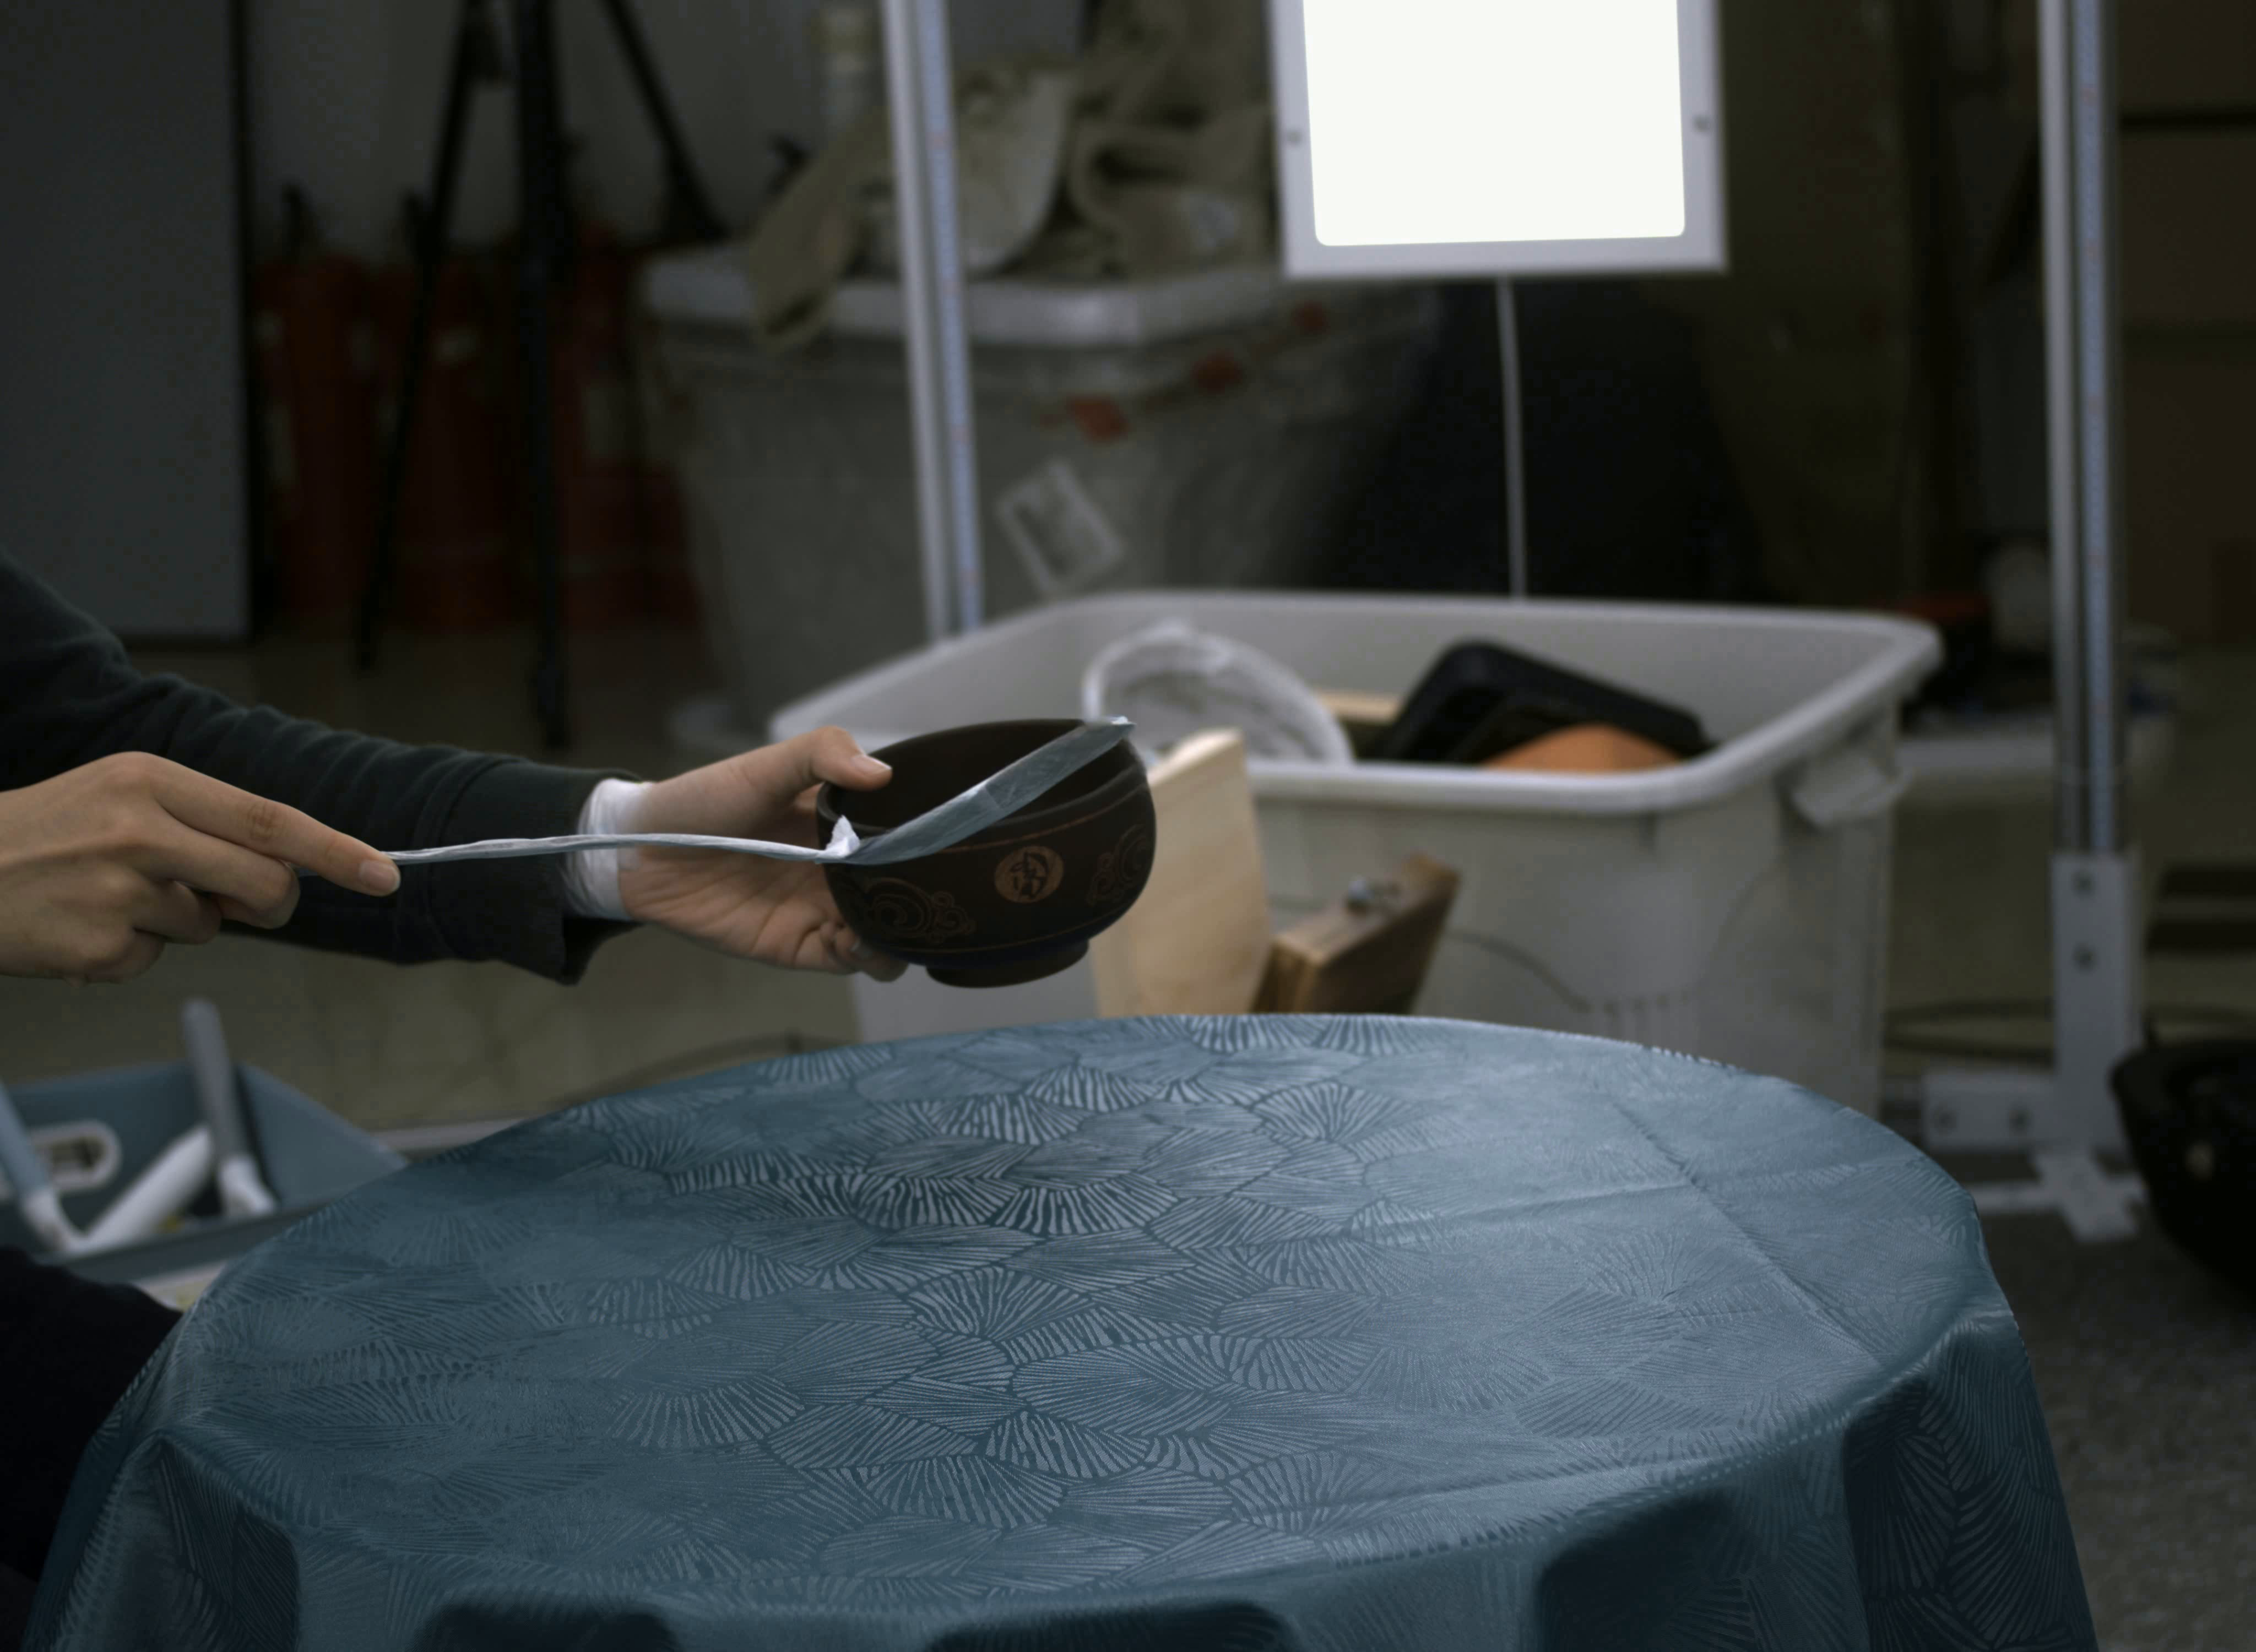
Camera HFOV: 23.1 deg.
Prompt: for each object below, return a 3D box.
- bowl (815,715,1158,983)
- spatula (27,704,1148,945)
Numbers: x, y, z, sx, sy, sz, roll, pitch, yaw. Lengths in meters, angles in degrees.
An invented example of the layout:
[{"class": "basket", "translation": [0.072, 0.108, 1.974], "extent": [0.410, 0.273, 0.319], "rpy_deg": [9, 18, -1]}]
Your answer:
[{"class": "bowl", "translation": [-0.046, 0.012, 1.897], "extent": [0.118, 0.070, 0.118], "rpy_deg": [-9, 17, 1]}, {"class": "spatula", "translation": [-0.173, 0.001, 1.721], "extent": [0.366, 0.045, 0.098], "rpy_deg": [-5, 2, 8]}]
